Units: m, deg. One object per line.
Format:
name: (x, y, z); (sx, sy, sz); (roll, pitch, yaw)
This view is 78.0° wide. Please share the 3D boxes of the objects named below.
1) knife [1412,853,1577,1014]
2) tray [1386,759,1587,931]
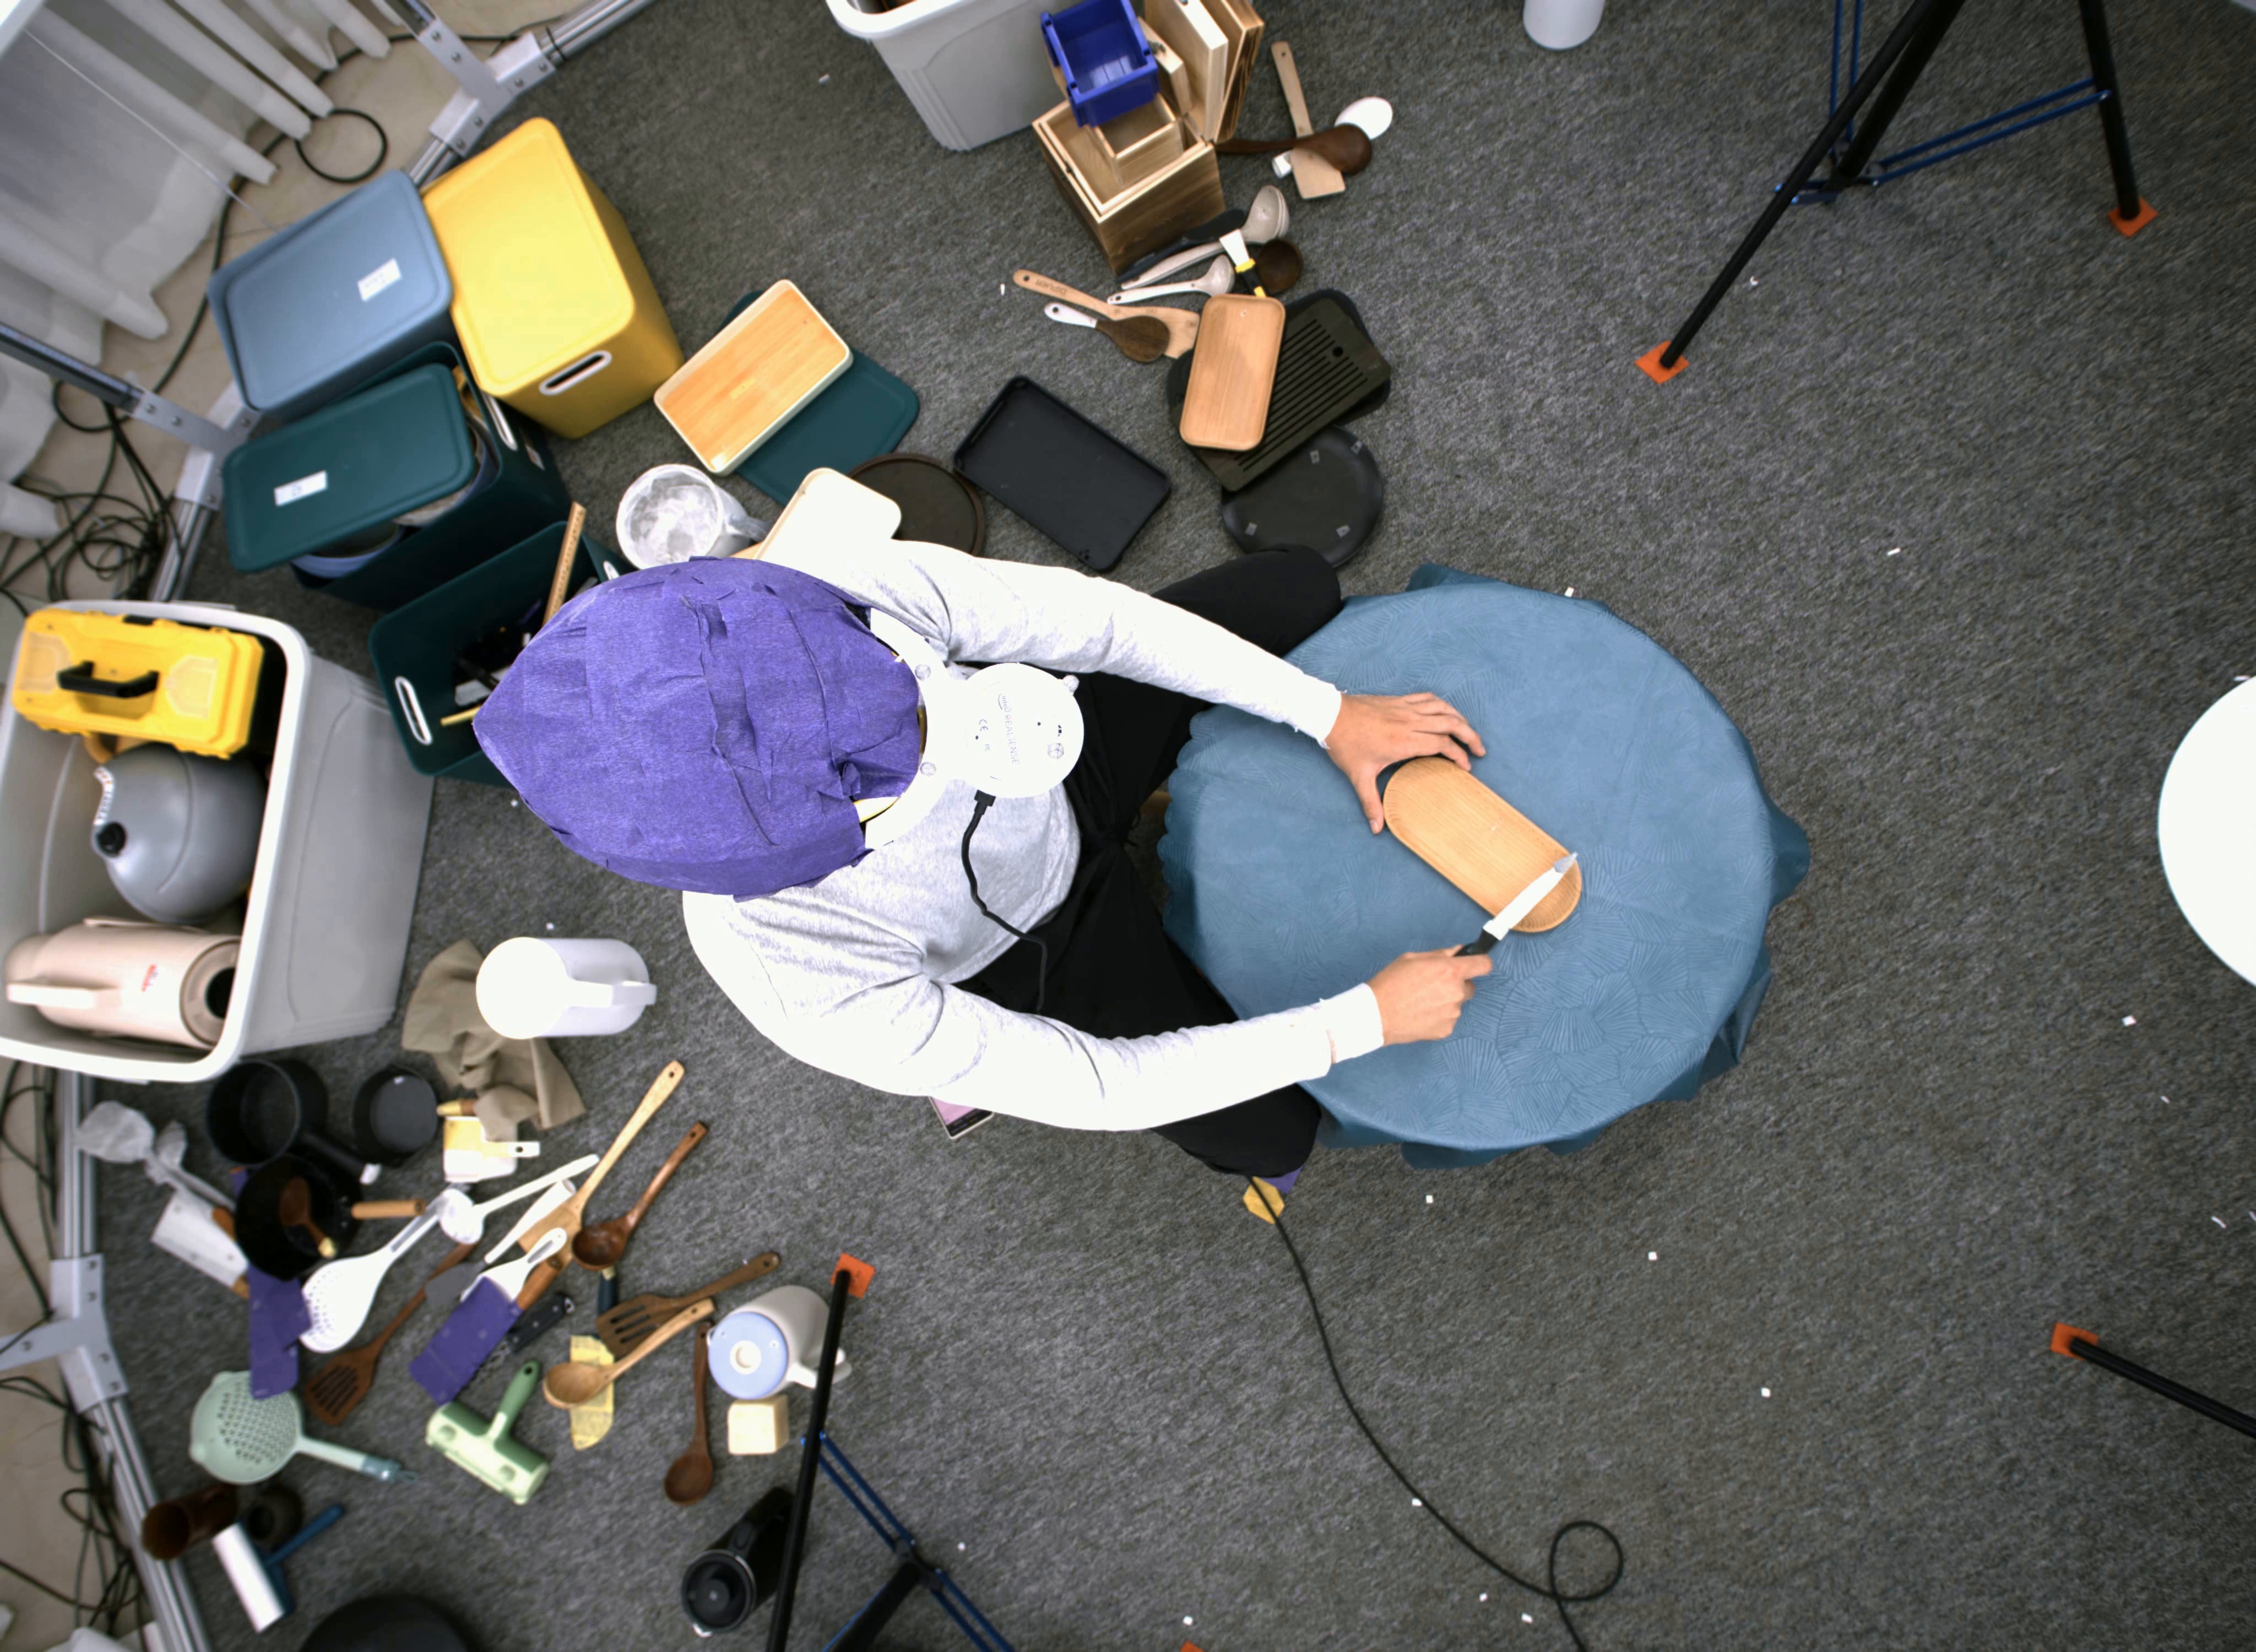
knife: (0.372, 0.104, 1.378); (0.236, 0.016, 0.024); (-42, 47, -9)
tray: (0.373, 0.017, 1.436); (0.230, 0.020, 0.102); (38, 95, 9)
